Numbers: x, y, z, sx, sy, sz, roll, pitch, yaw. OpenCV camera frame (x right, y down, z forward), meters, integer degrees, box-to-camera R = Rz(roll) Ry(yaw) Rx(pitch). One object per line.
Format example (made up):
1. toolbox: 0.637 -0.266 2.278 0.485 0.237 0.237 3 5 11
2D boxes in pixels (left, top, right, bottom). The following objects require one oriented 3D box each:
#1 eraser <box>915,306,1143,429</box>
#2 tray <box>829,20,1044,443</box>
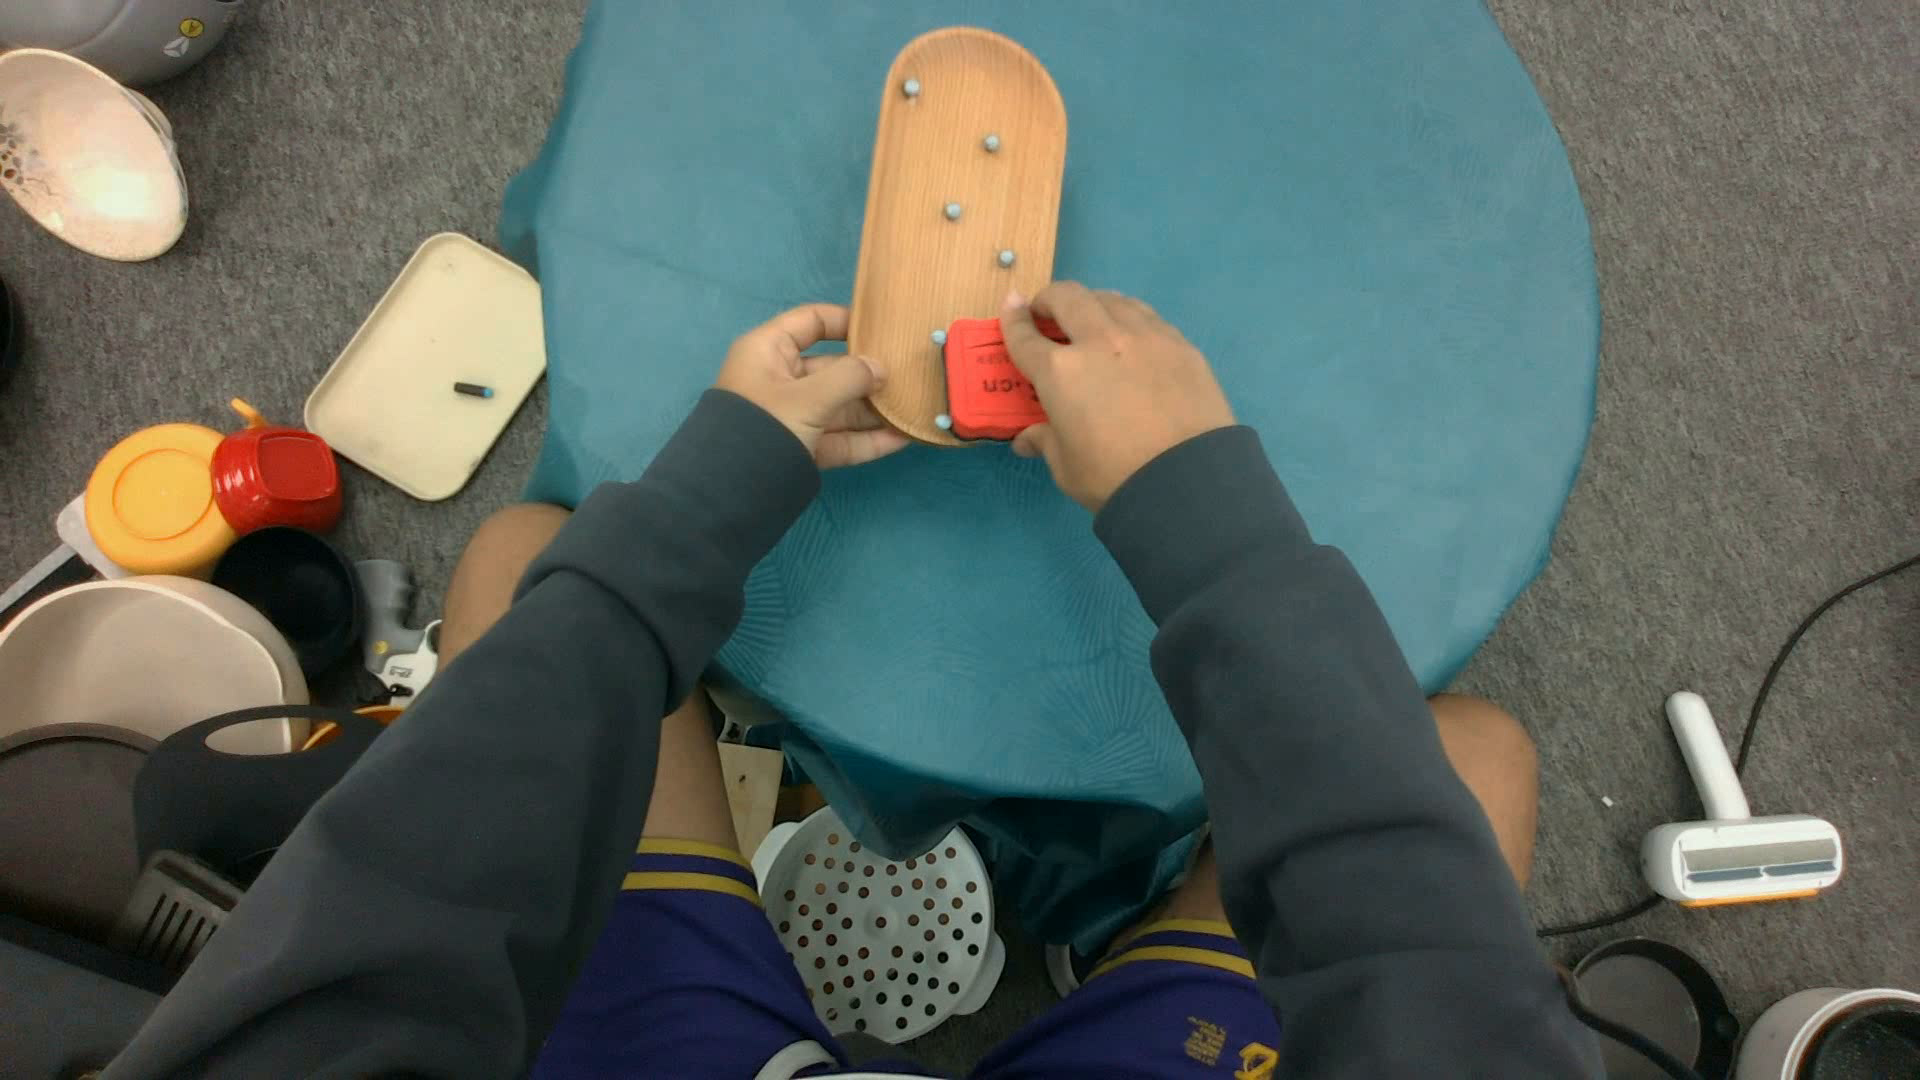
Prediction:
1. eraser: 0.034 -0.085 0.681 0.108 0.023 0.059 -2 66 -14
2. tray: -0.011 -0.160 0.705 0.102 0.020 0.231 9 77 -15
